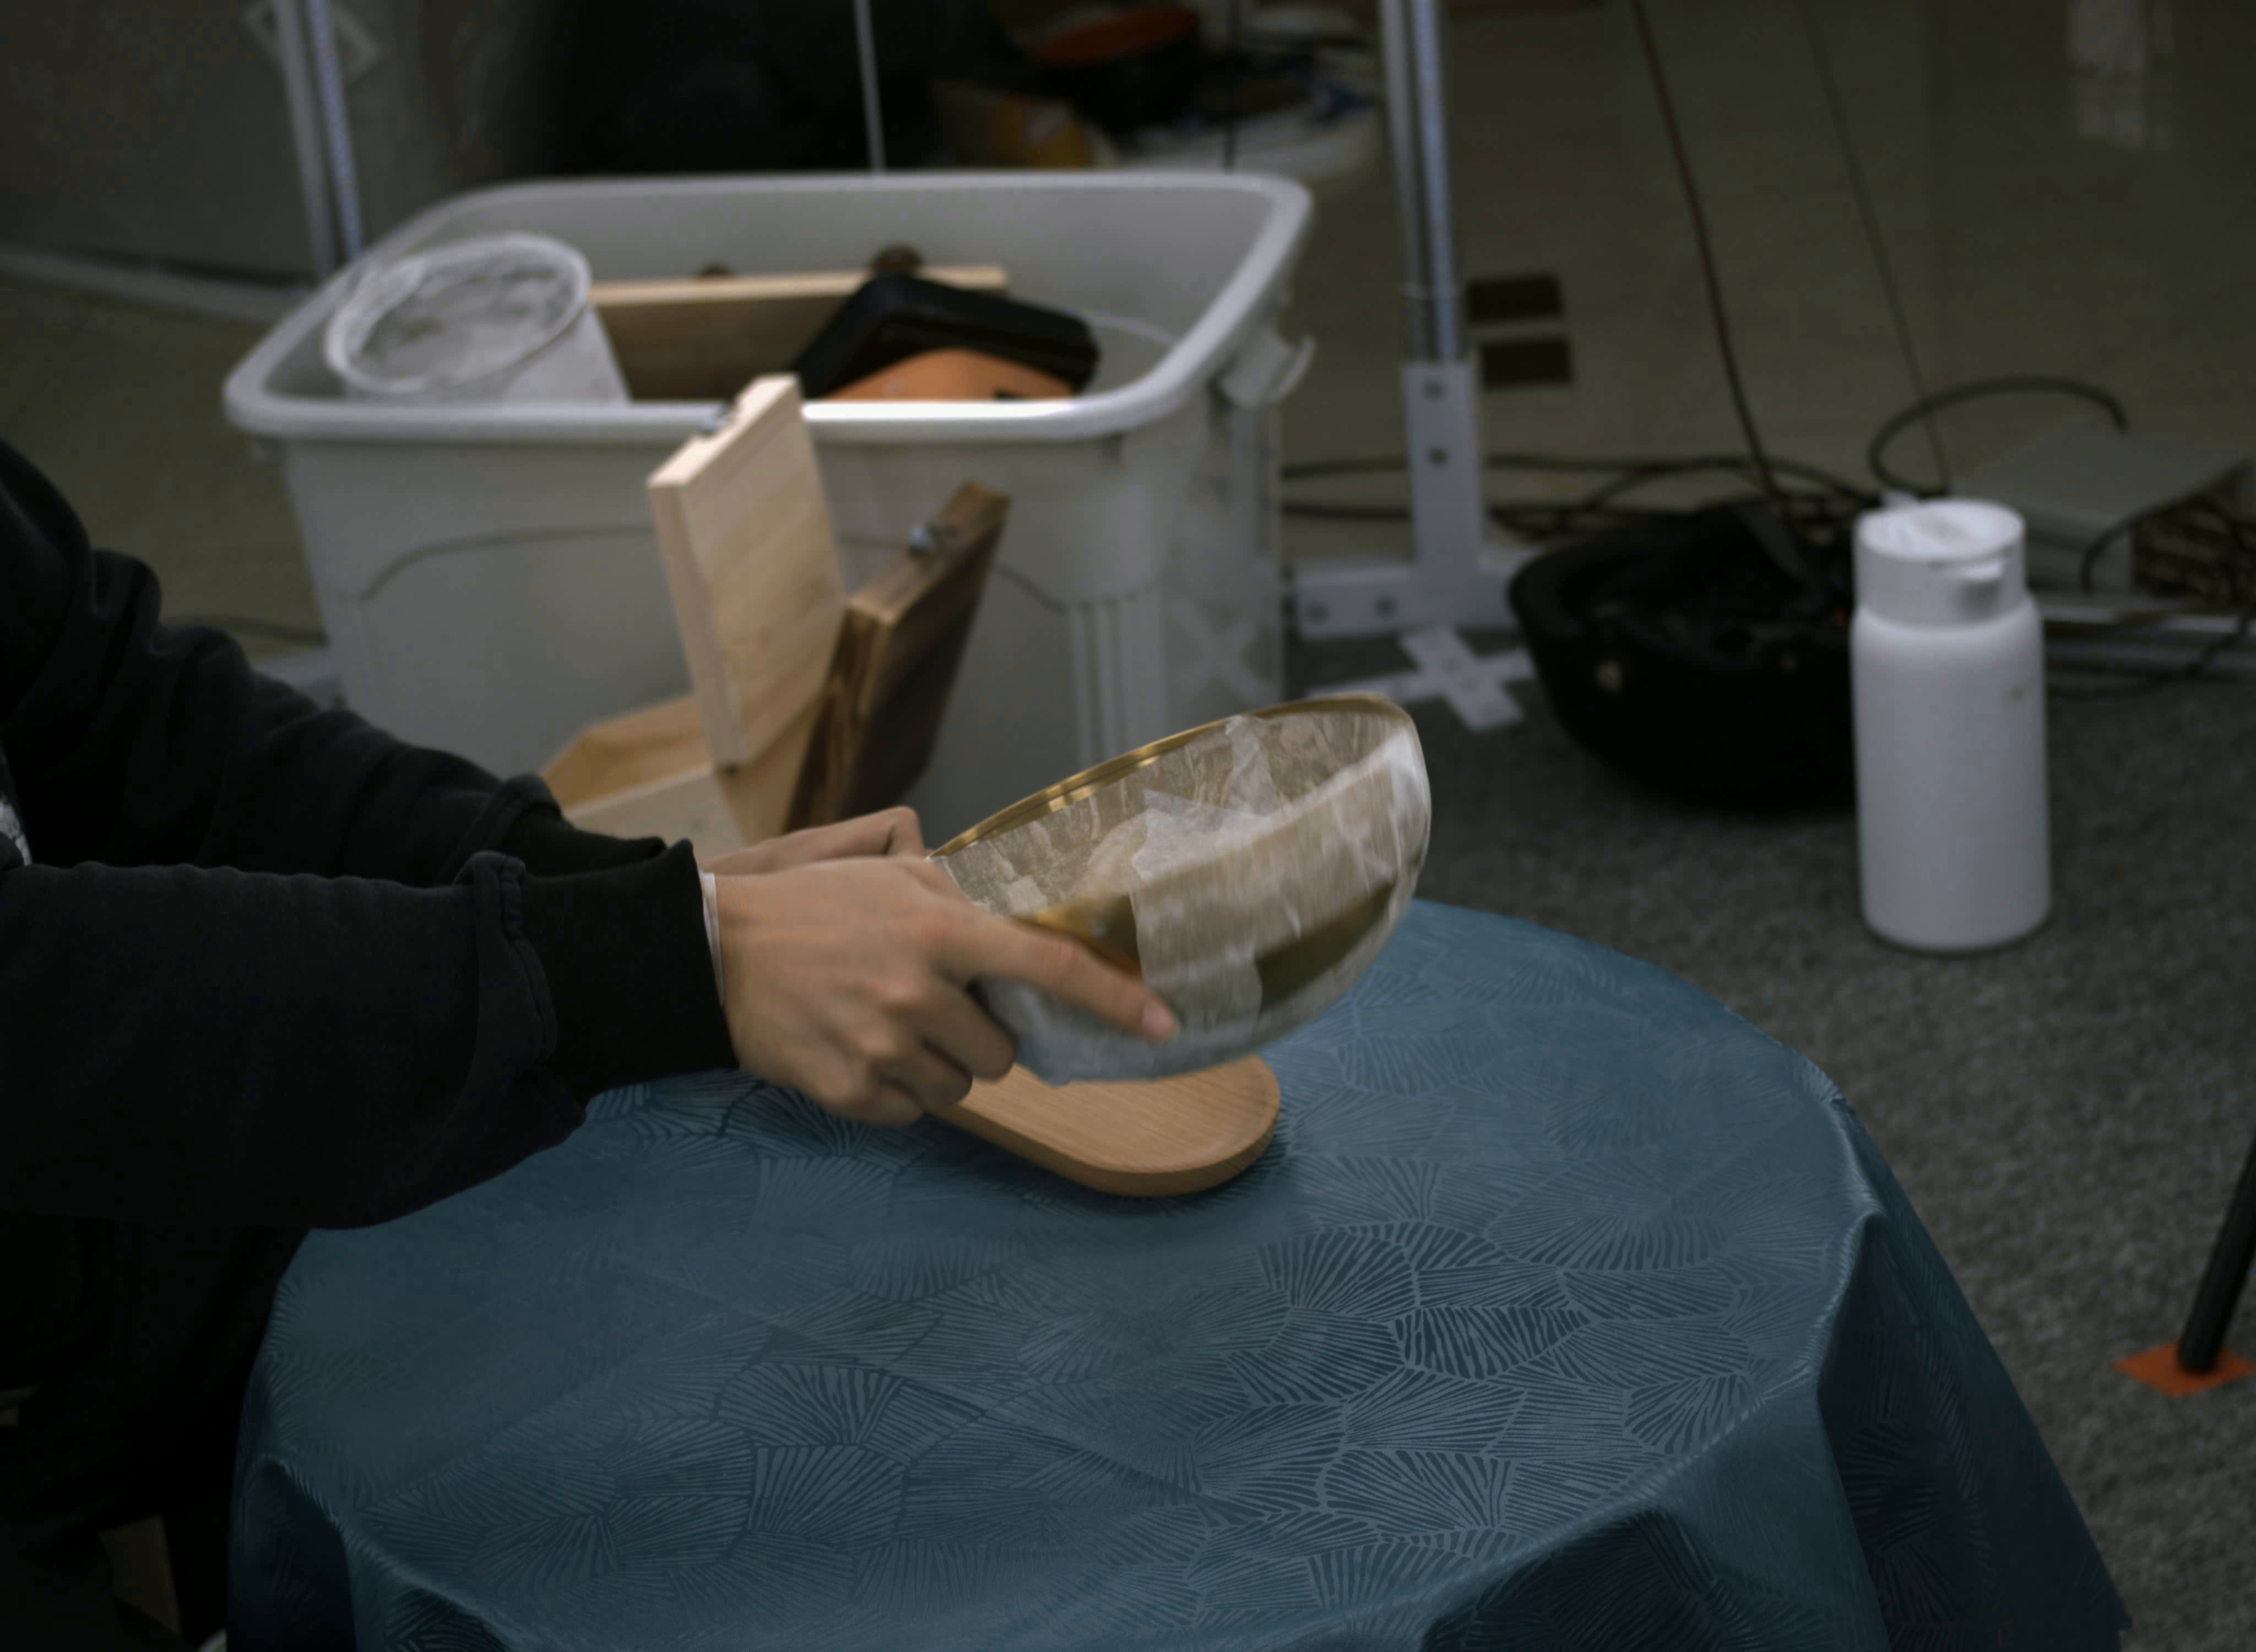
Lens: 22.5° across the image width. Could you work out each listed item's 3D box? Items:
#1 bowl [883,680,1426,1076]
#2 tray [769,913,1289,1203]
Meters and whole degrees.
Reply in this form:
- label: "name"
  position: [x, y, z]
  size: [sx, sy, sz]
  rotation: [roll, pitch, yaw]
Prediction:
- label: "bowl"
  position: [0.020, 0.030, 2.020]
  size: [0.215, 0.095, 0.213]
  rotation: [-22, 12, 5]
- label: "tray"
  position: [-0.040, 0.089, 2.209]
  size: [0.229, 0.021, 0.100]
  rotation: [24, 42, 30]
